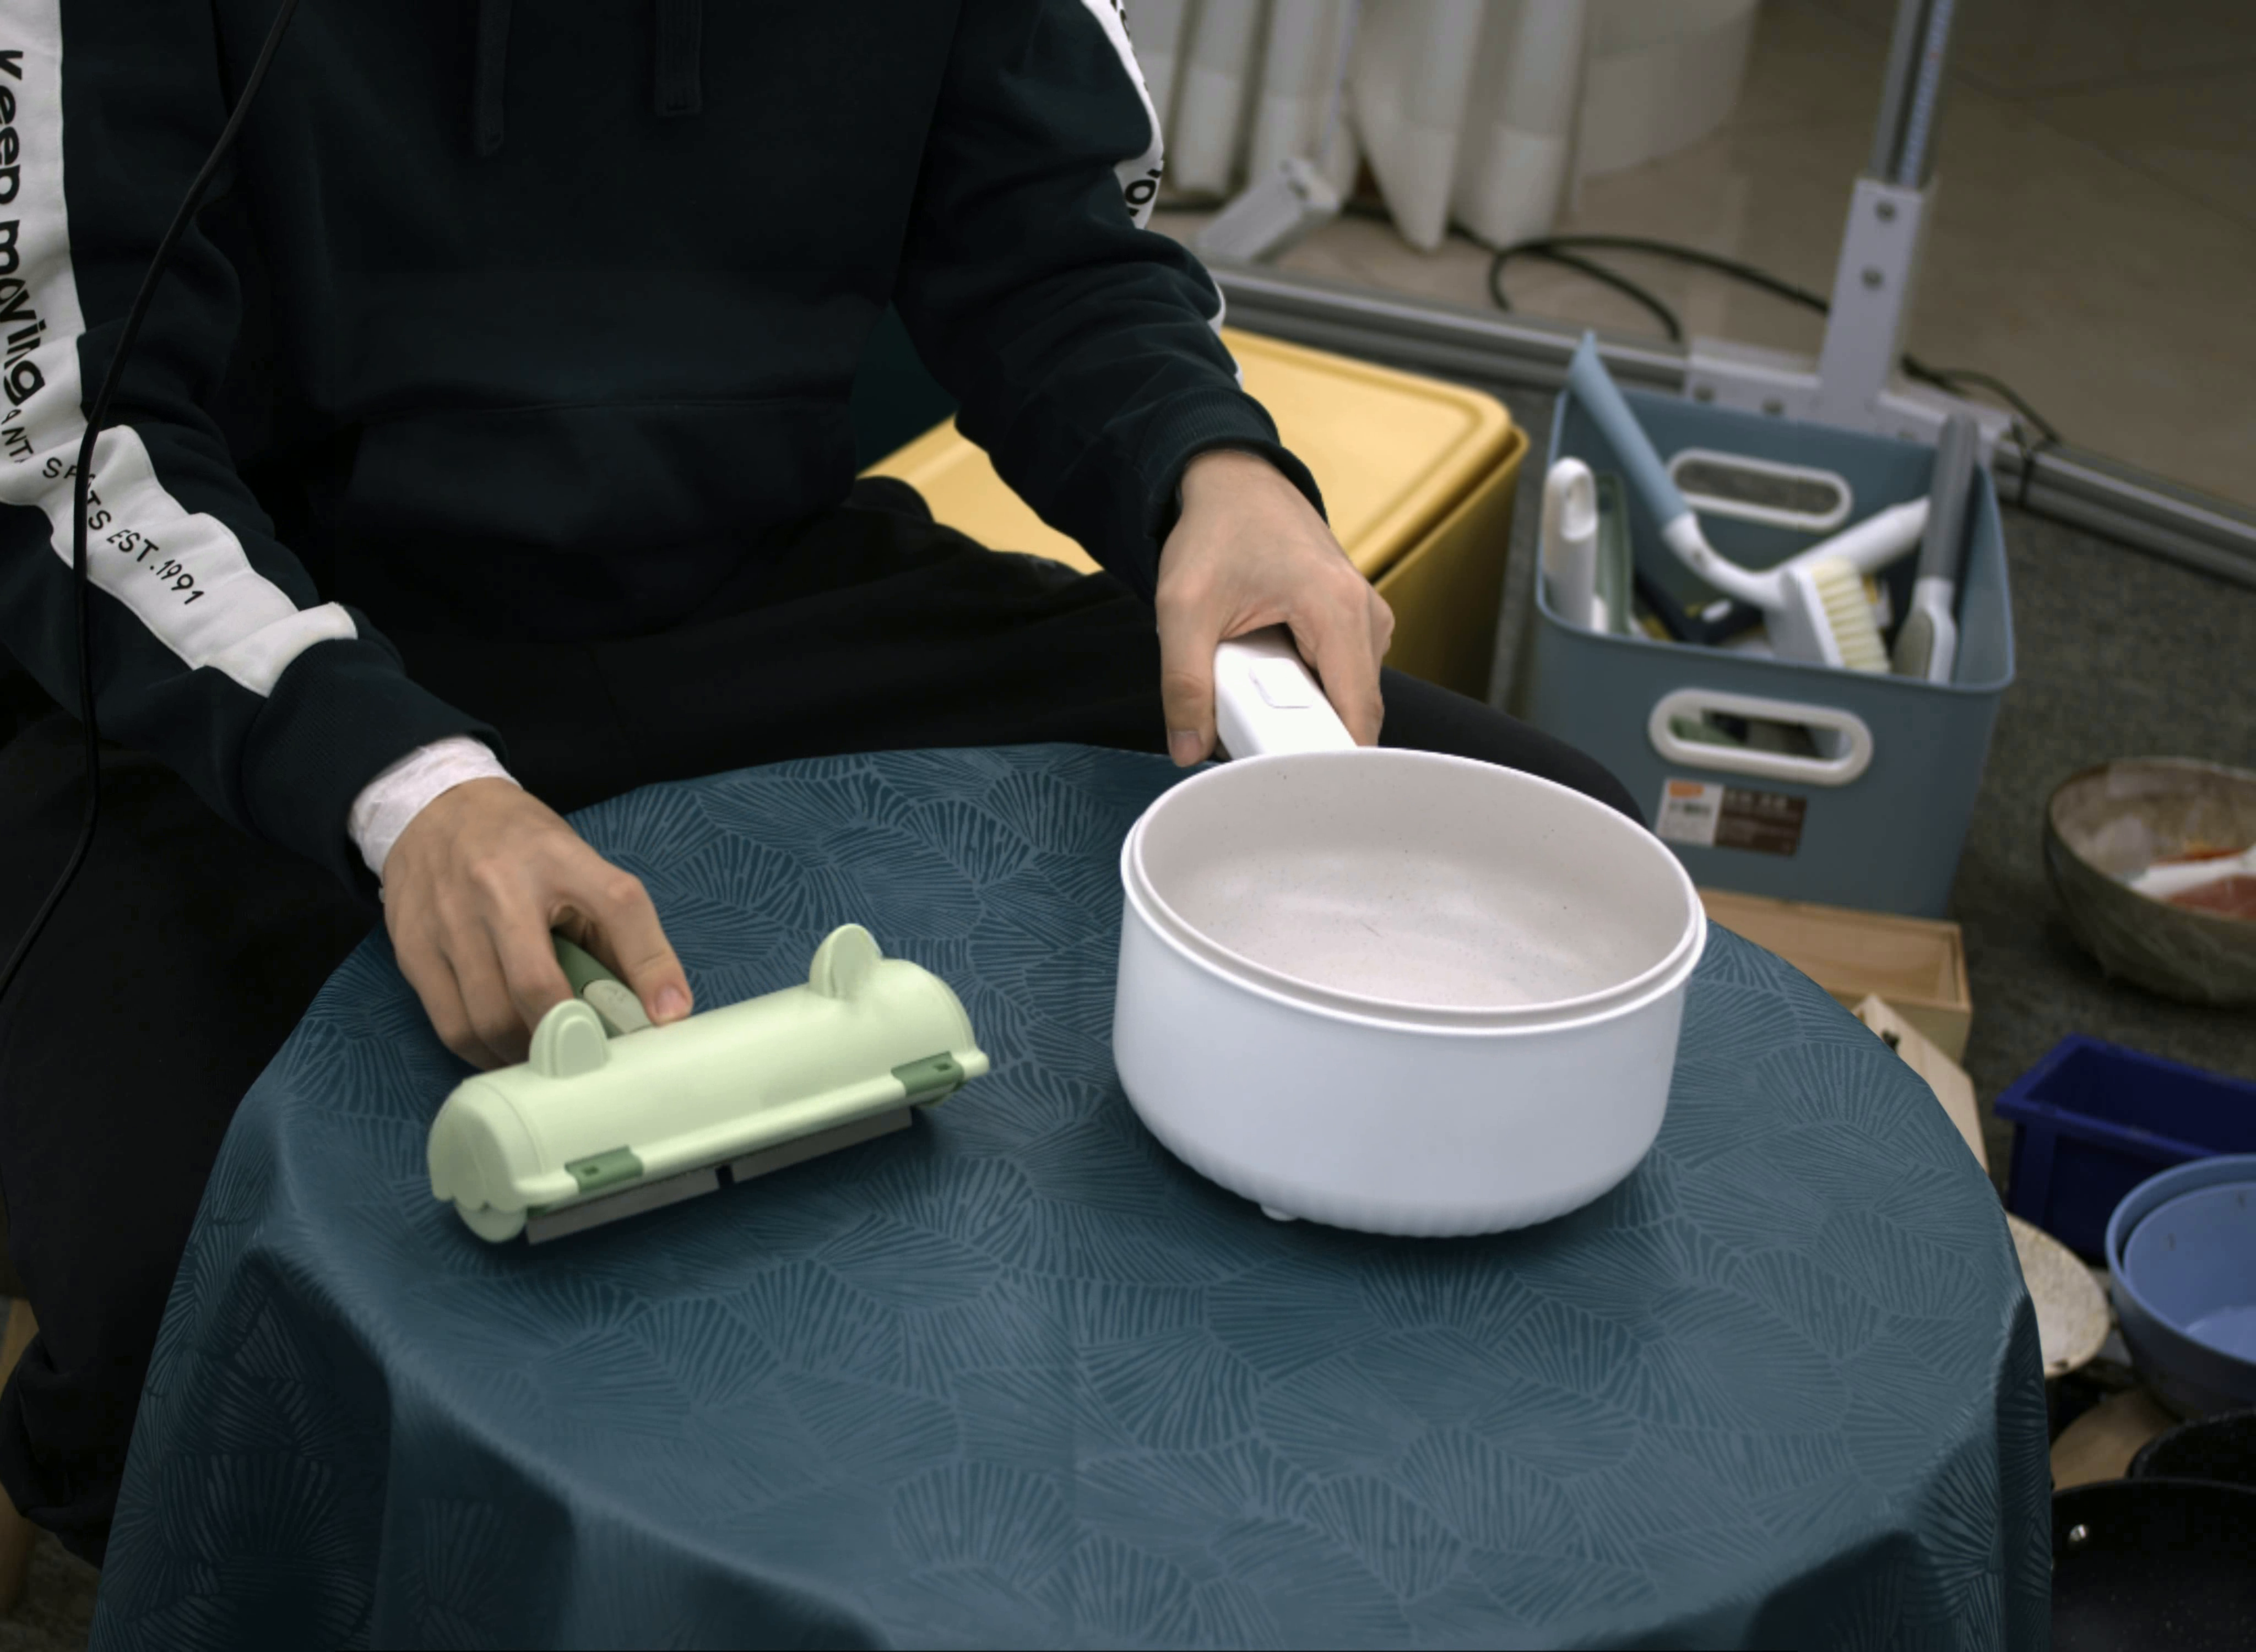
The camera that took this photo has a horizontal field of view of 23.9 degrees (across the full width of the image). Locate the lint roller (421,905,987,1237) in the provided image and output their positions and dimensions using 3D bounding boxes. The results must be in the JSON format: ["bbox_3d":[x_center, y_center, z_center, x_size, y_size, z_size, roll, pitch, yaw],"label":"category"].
[{"bbox_3d":[-0.173,0.055,1.798,0.197,0.082,0.185,-14,40,-38],"label":"lint roller"}]

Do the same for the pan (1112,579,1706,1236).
[{"bbox_3d":[0.075,0.026,1.897,0.200,0.102,0.358,-2,27,-15],"label":"pan"}]
